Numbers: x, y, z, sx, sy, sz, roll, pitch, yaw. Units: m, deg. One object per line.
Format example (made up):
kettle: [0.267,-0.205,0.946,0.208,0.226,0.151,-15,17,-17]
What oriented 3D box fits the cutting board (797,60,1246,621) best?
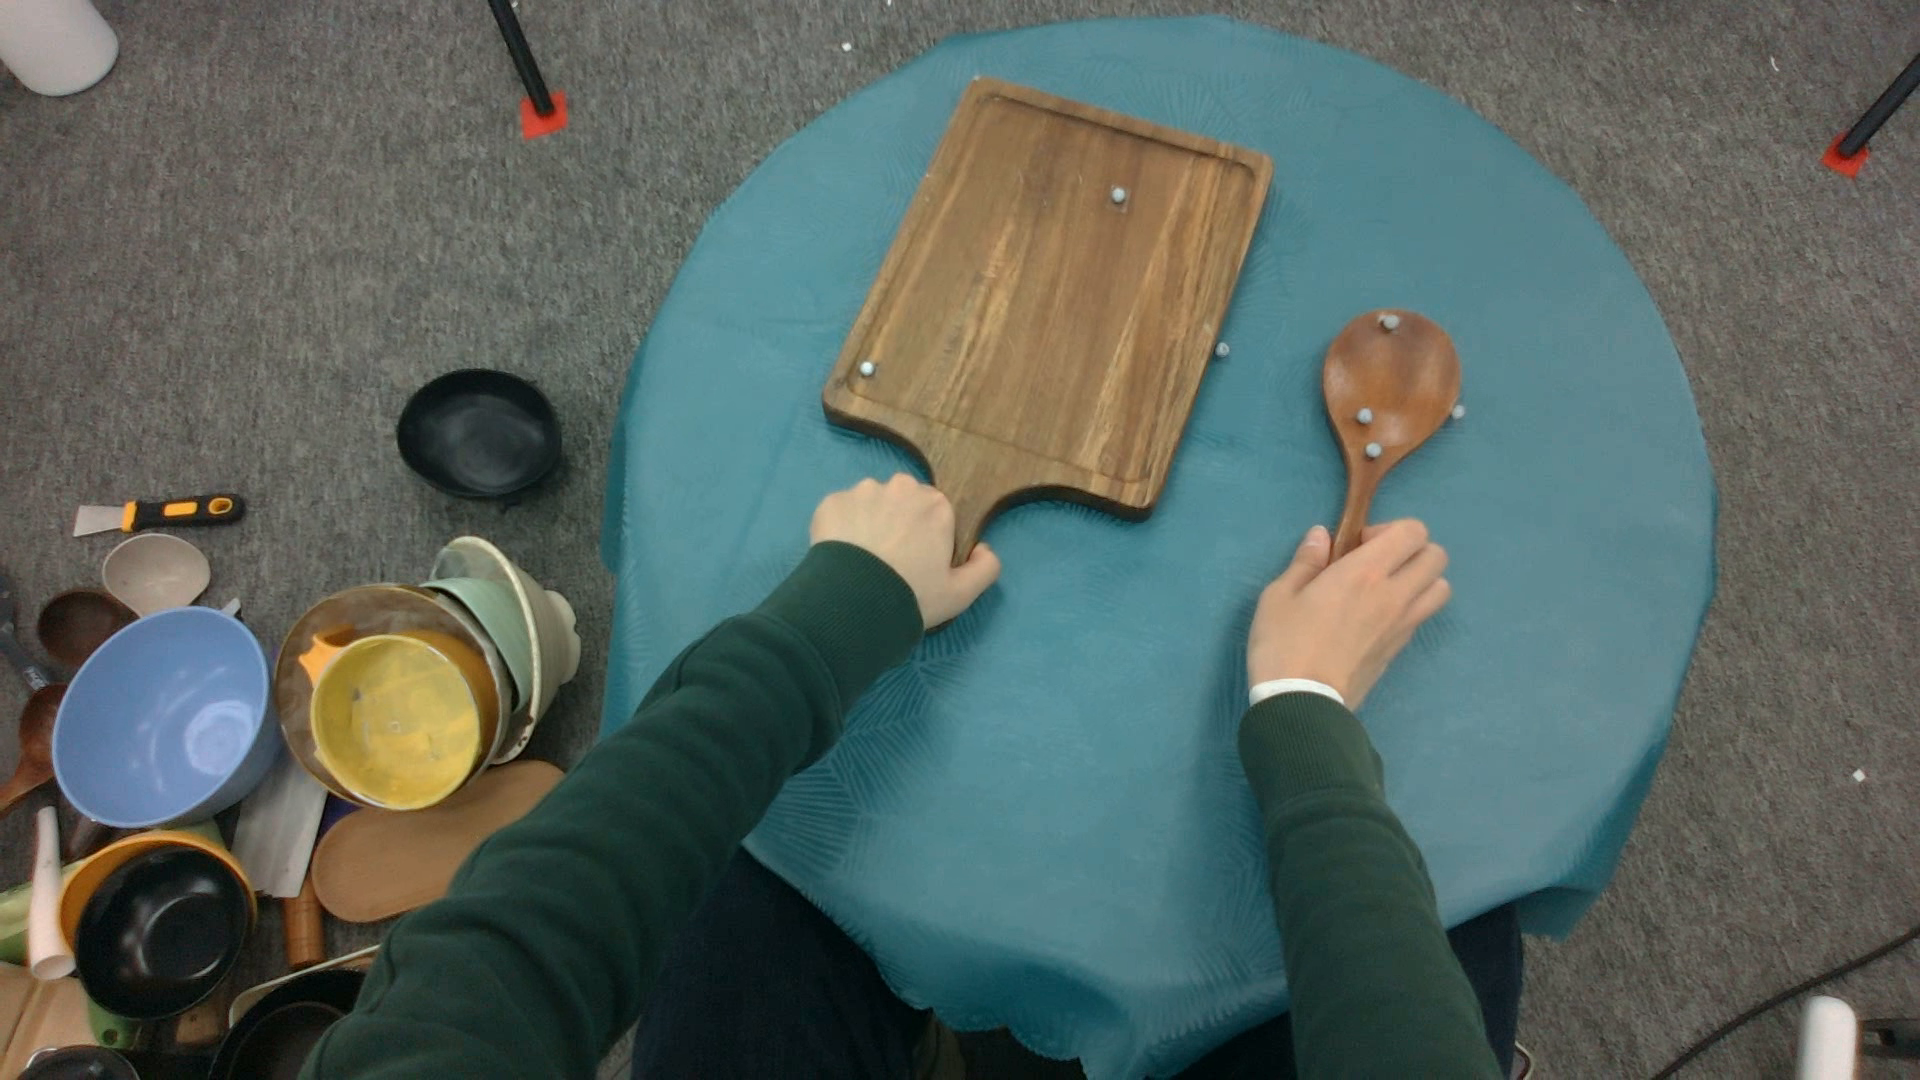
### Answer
cutting board: [0.024,-0.116,0.778,0.201,0.023,0.353,18,68,7]

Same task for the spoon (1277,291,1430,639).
spoon: [0.205,-0.045,0.747,0.075,0.017,0.216,17,66,6]
